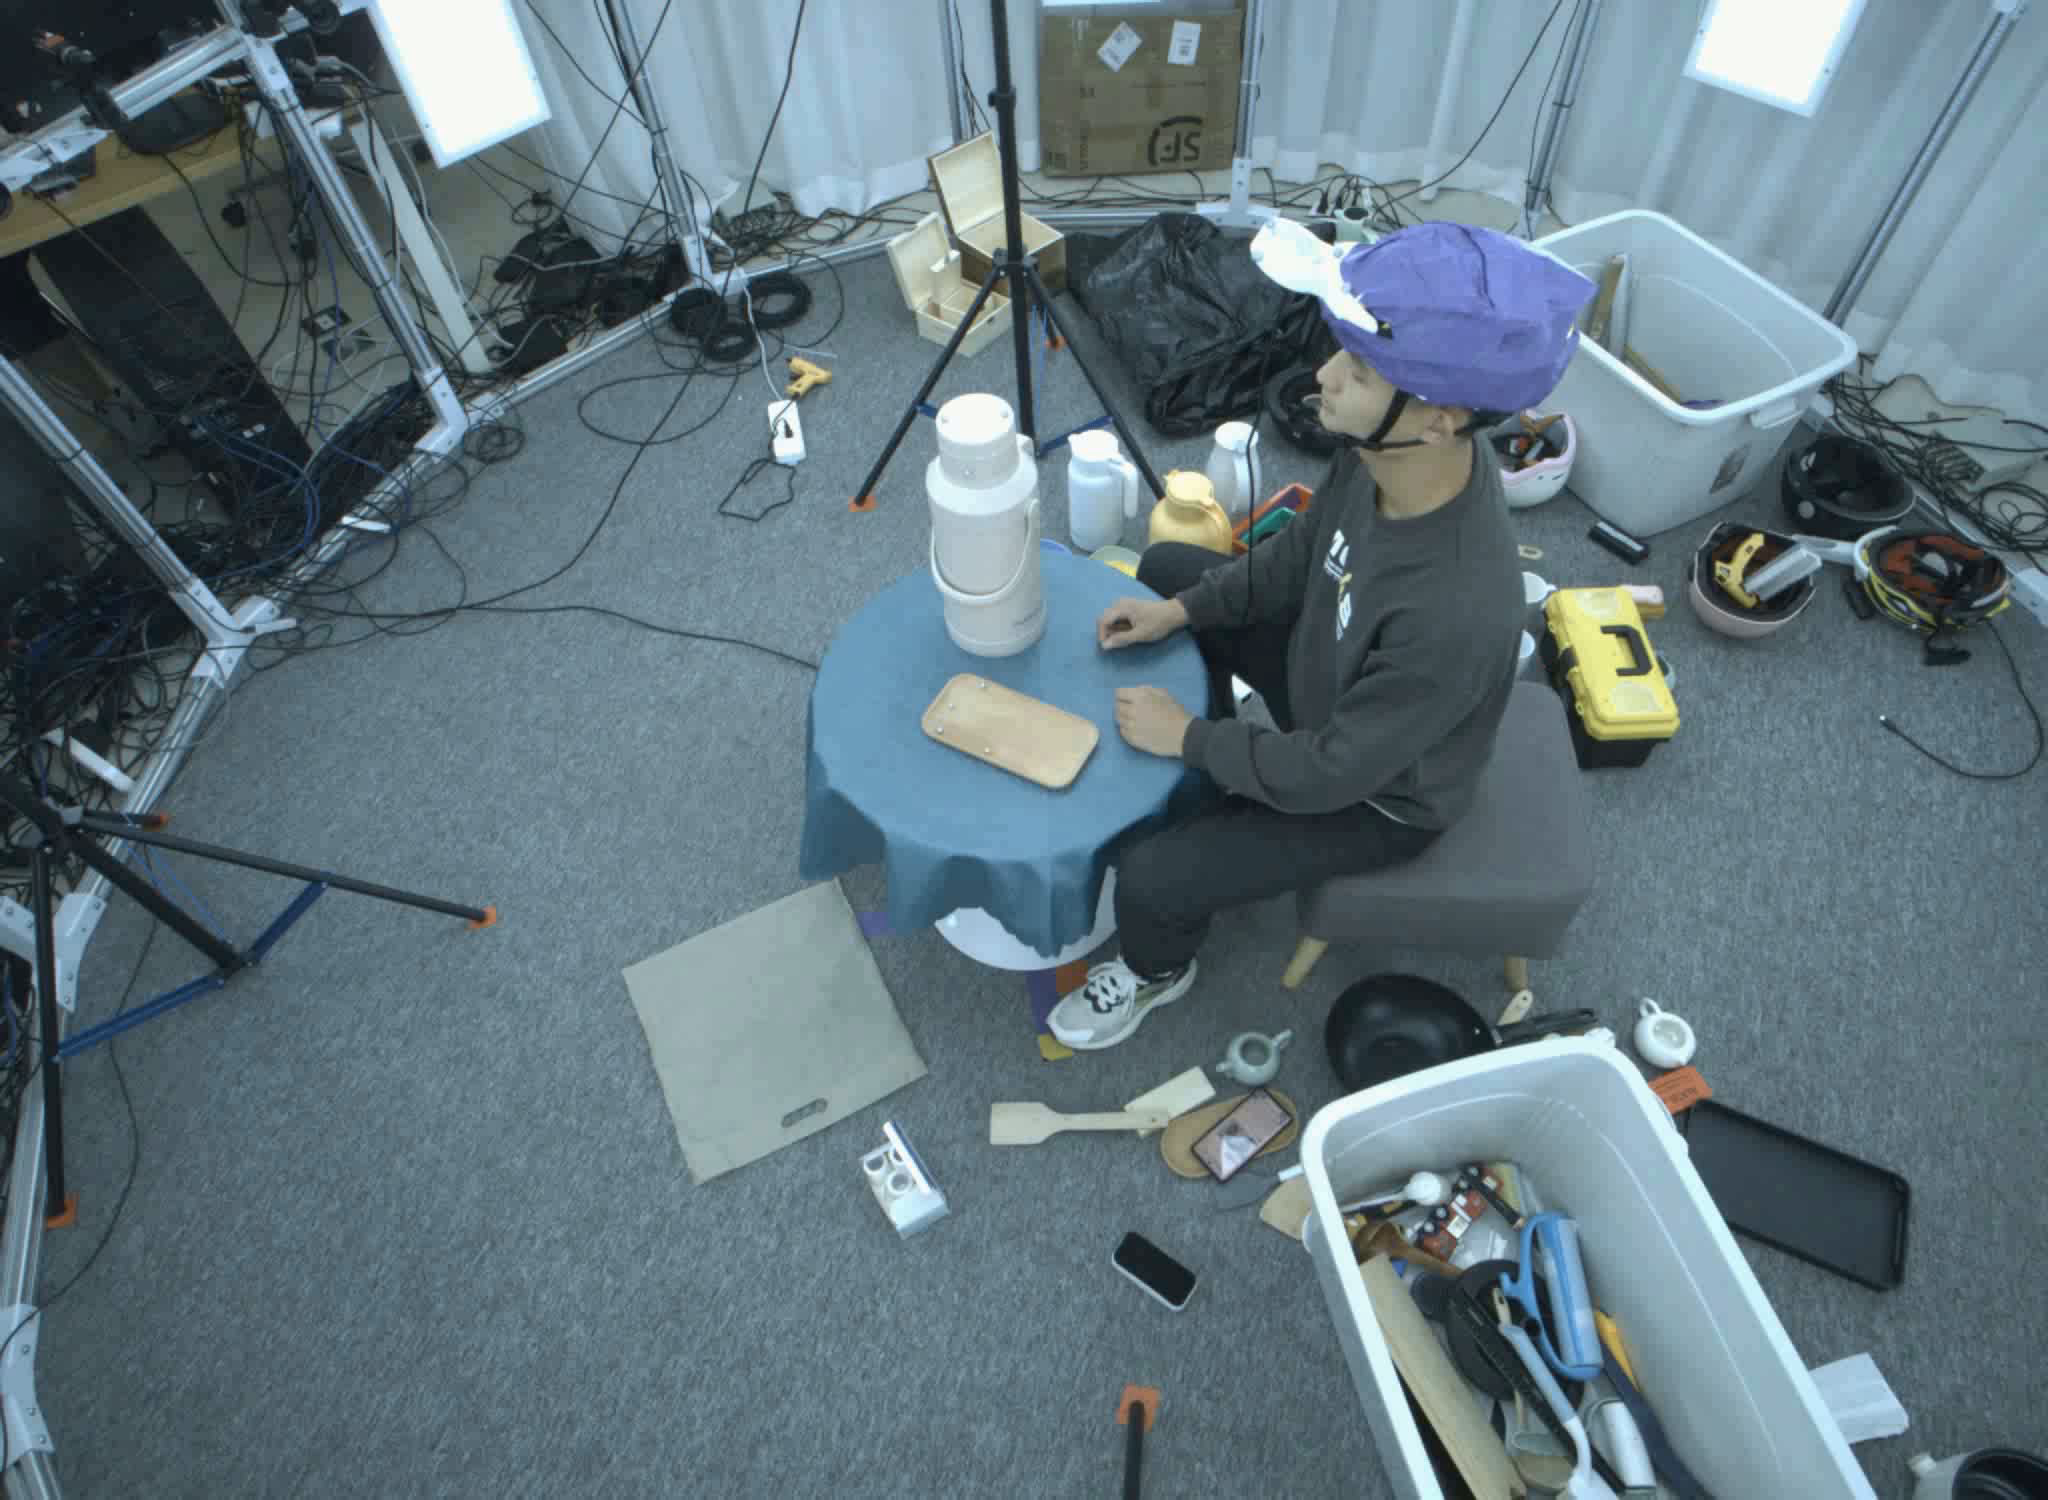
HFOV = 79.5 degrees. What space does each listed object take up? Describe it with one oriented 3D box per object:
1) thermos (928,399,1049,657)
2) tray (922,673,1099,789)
[{"bbox_3d":[-0.043,-0.332,1.778,0.173,0.411,0.207,24,59,21],"label":"thermos"},{"bbox_3d":[-0.020,-0.029,1.796,0.247,0.023,0.131,24,61,17],"label":"tray"}]
